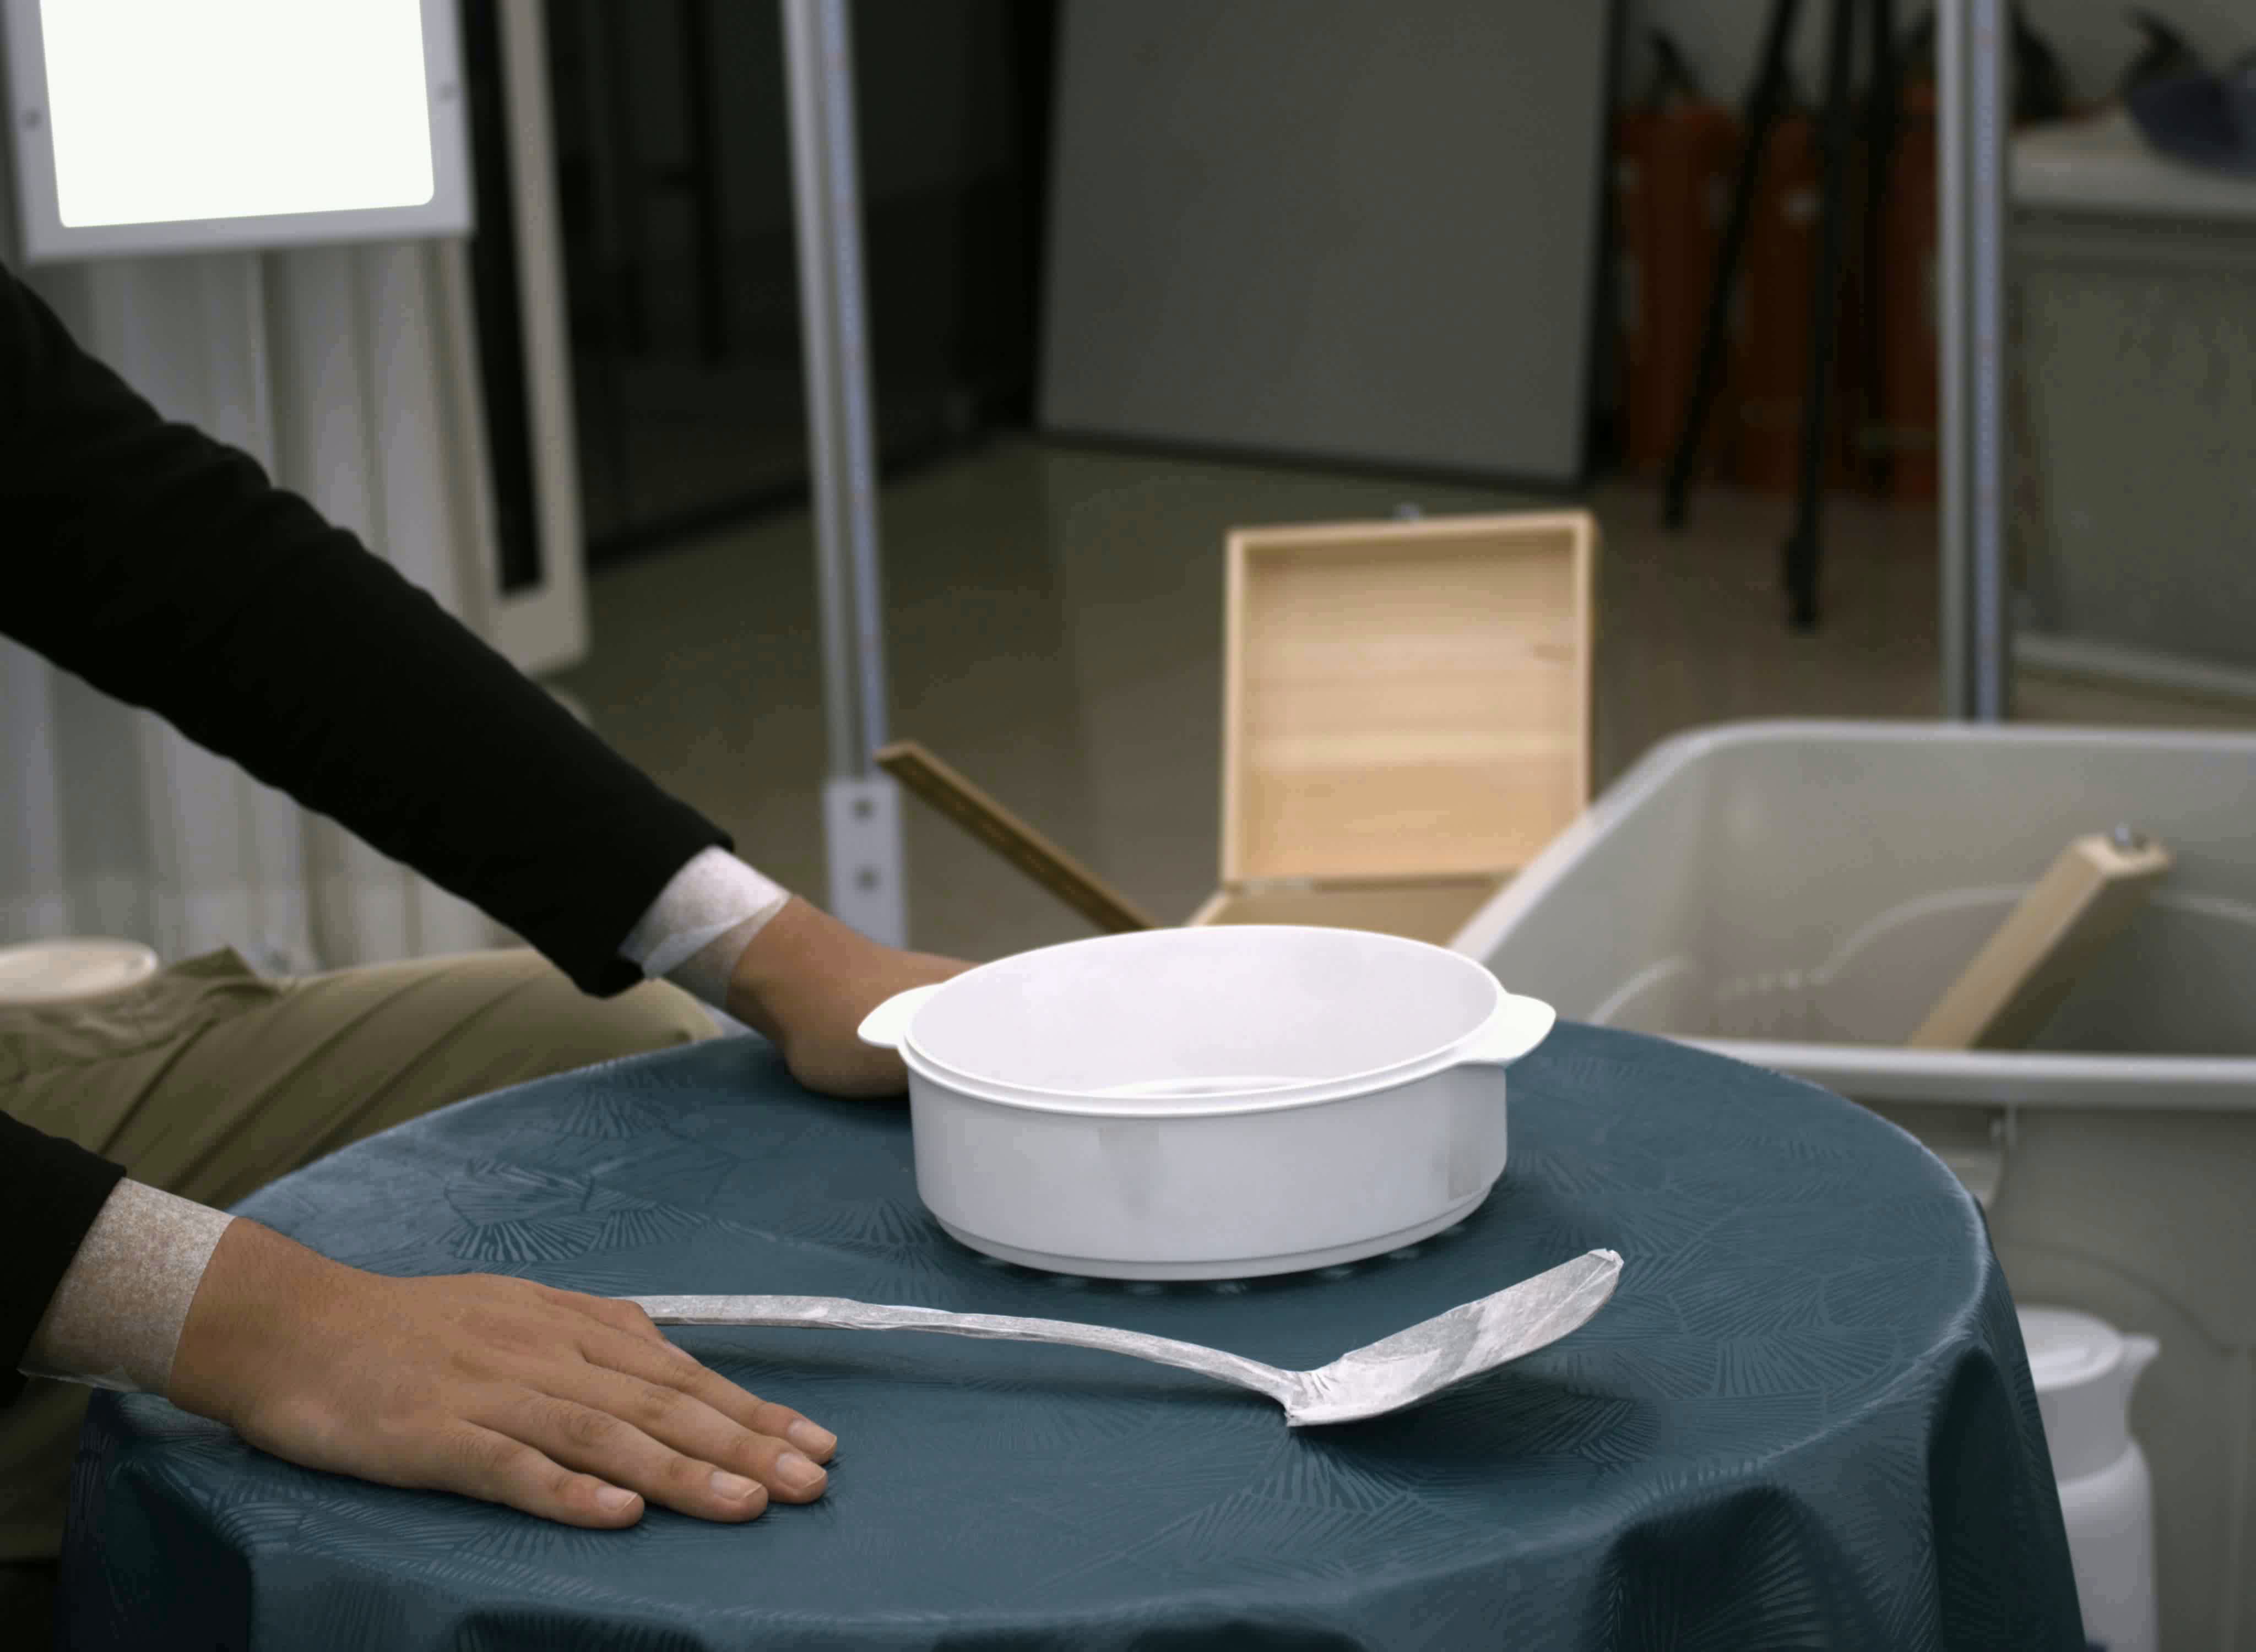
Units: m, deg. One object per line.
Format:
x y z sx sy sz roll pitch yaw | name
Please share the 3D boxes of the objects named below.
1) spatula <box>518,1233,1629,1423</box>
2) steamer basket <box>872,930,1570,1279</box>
-0.028 0.145 1.599 0.365 0.045 0.097 2 17 23 | spatula
0.031 0.089 1.743 0.230 0.070 0.200 -1 13 18 | steamer basket
